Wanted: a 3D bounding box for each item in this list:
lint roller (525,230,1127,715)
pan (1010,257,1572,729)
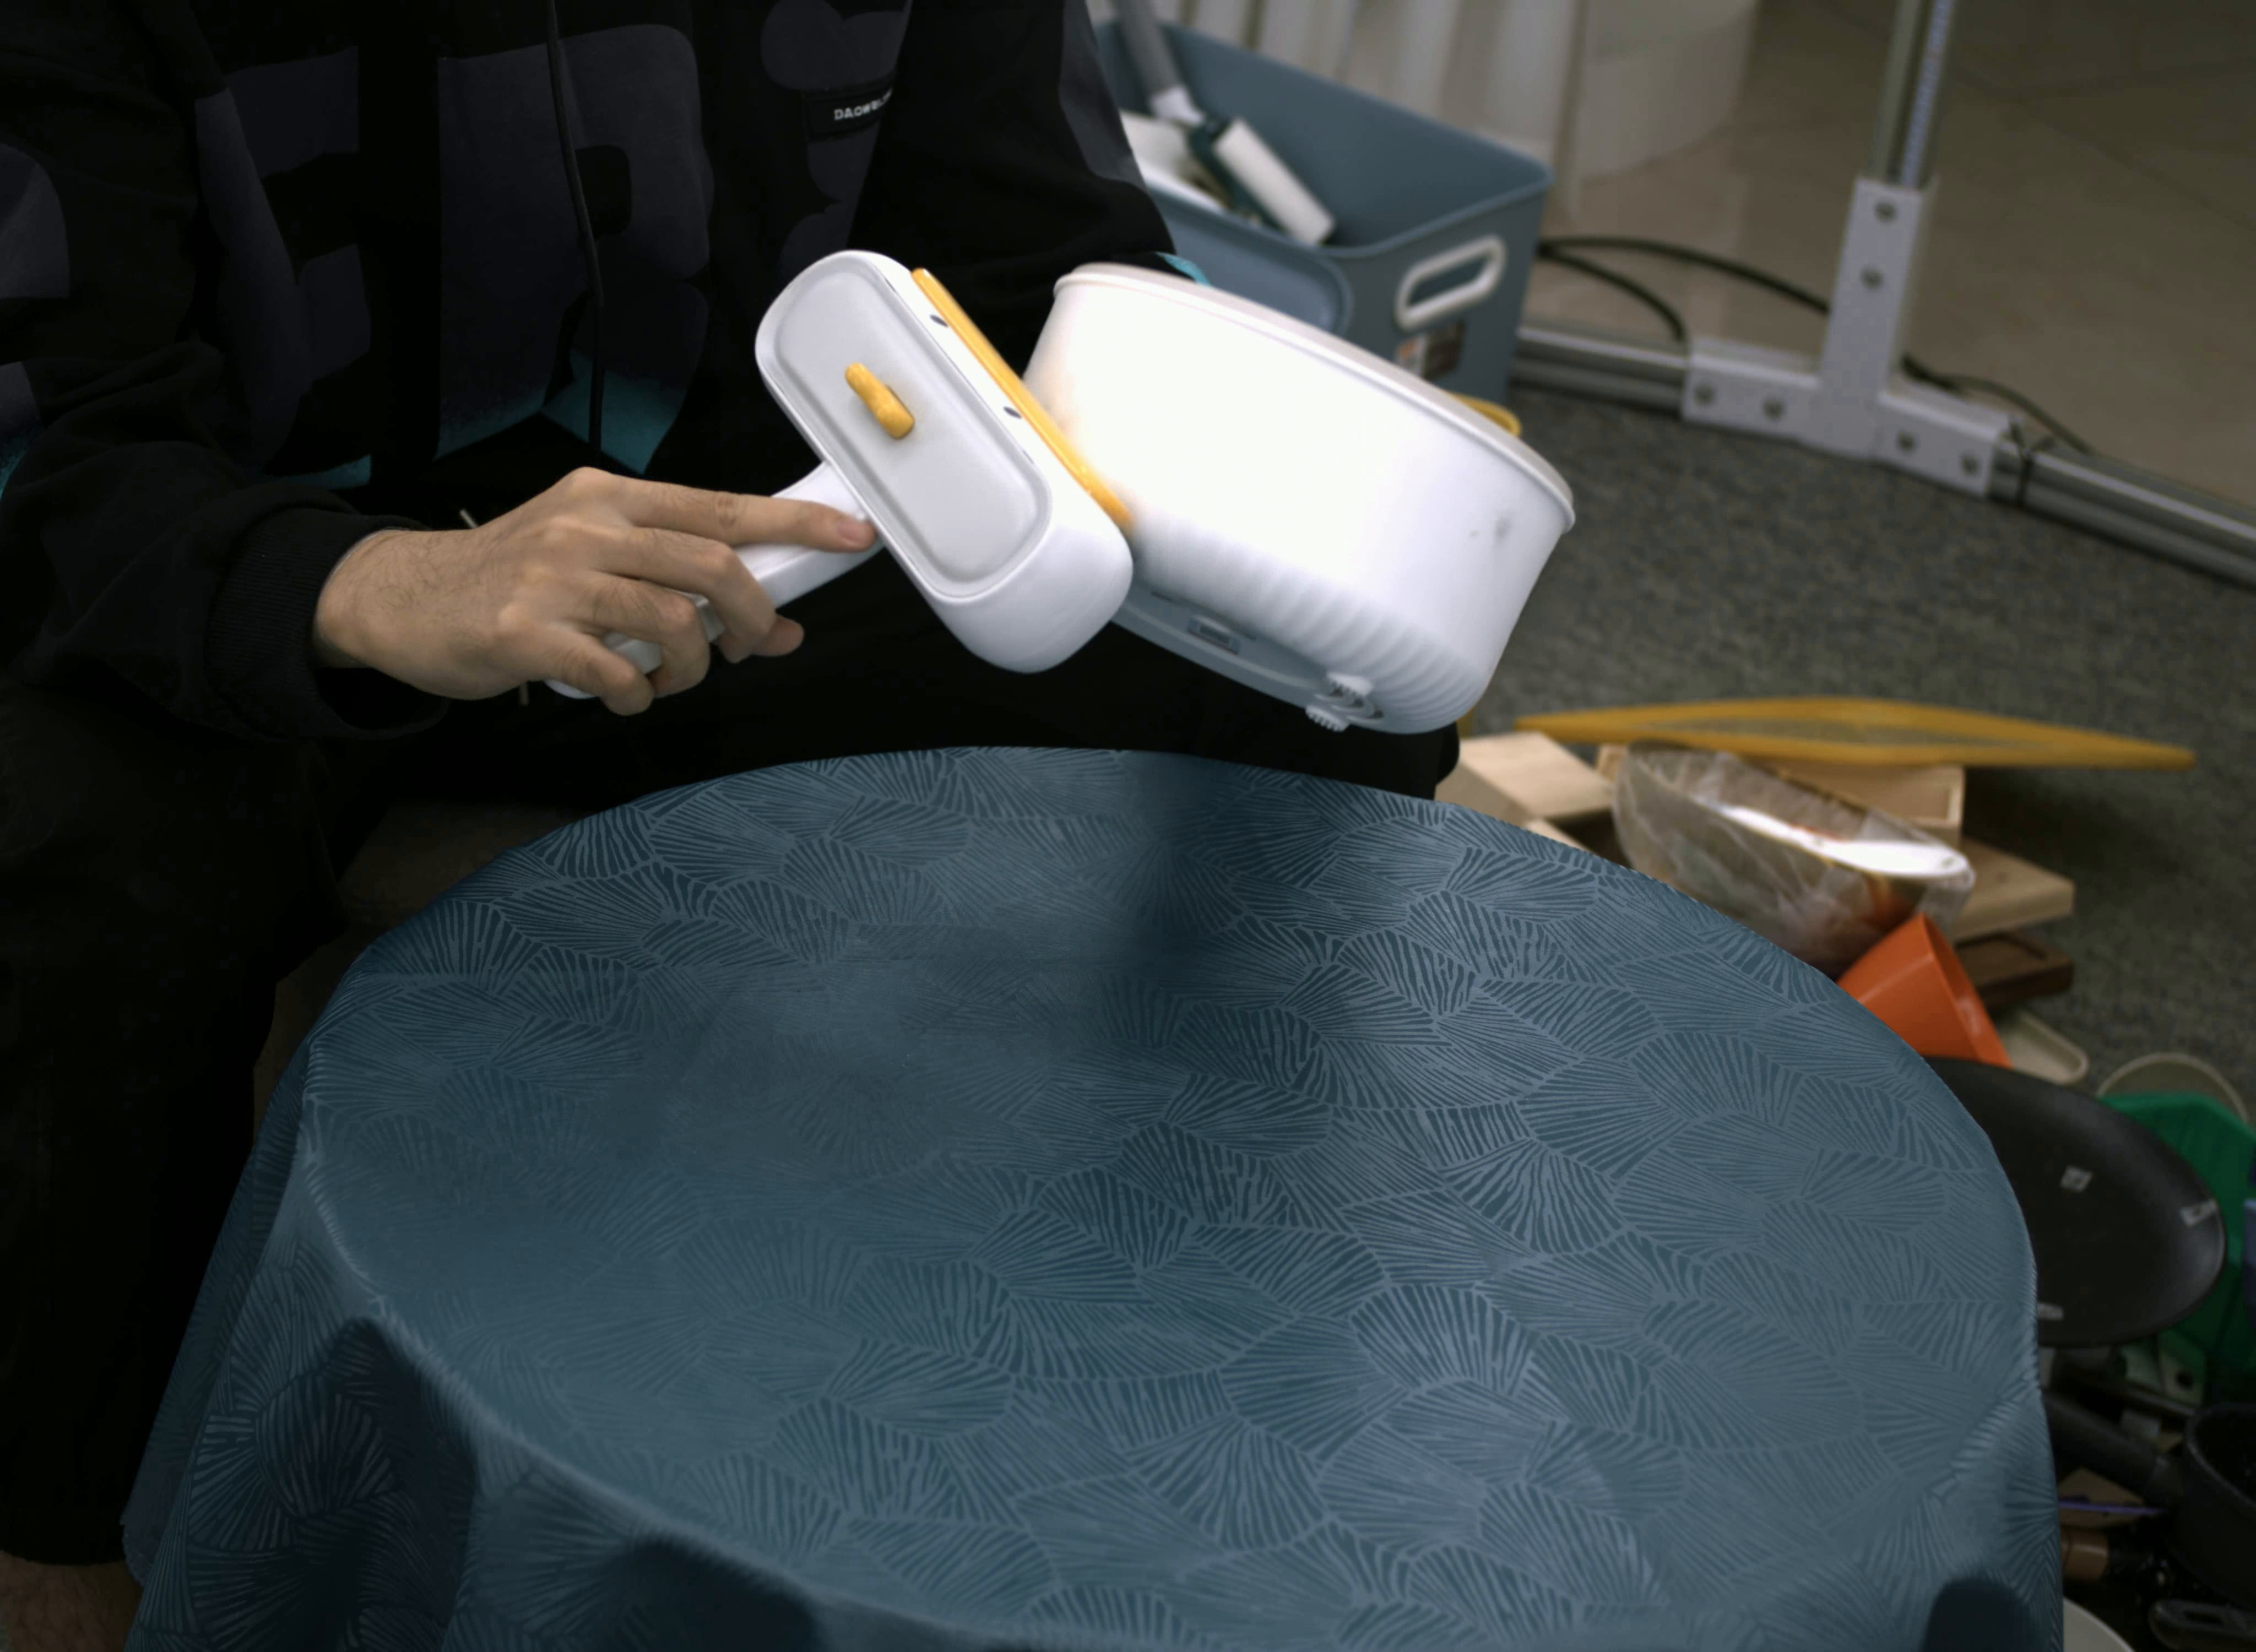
[{"bbox_3d":[-0.116,-0.099,1.801,0.192,0.073,0.194,-40,53,-3],"label":"lint roller"},{"bbox_3d":[0.044,-0.102,1.946,0.201,0.102,0.354,25,-6,1],"label":"pan"}]
